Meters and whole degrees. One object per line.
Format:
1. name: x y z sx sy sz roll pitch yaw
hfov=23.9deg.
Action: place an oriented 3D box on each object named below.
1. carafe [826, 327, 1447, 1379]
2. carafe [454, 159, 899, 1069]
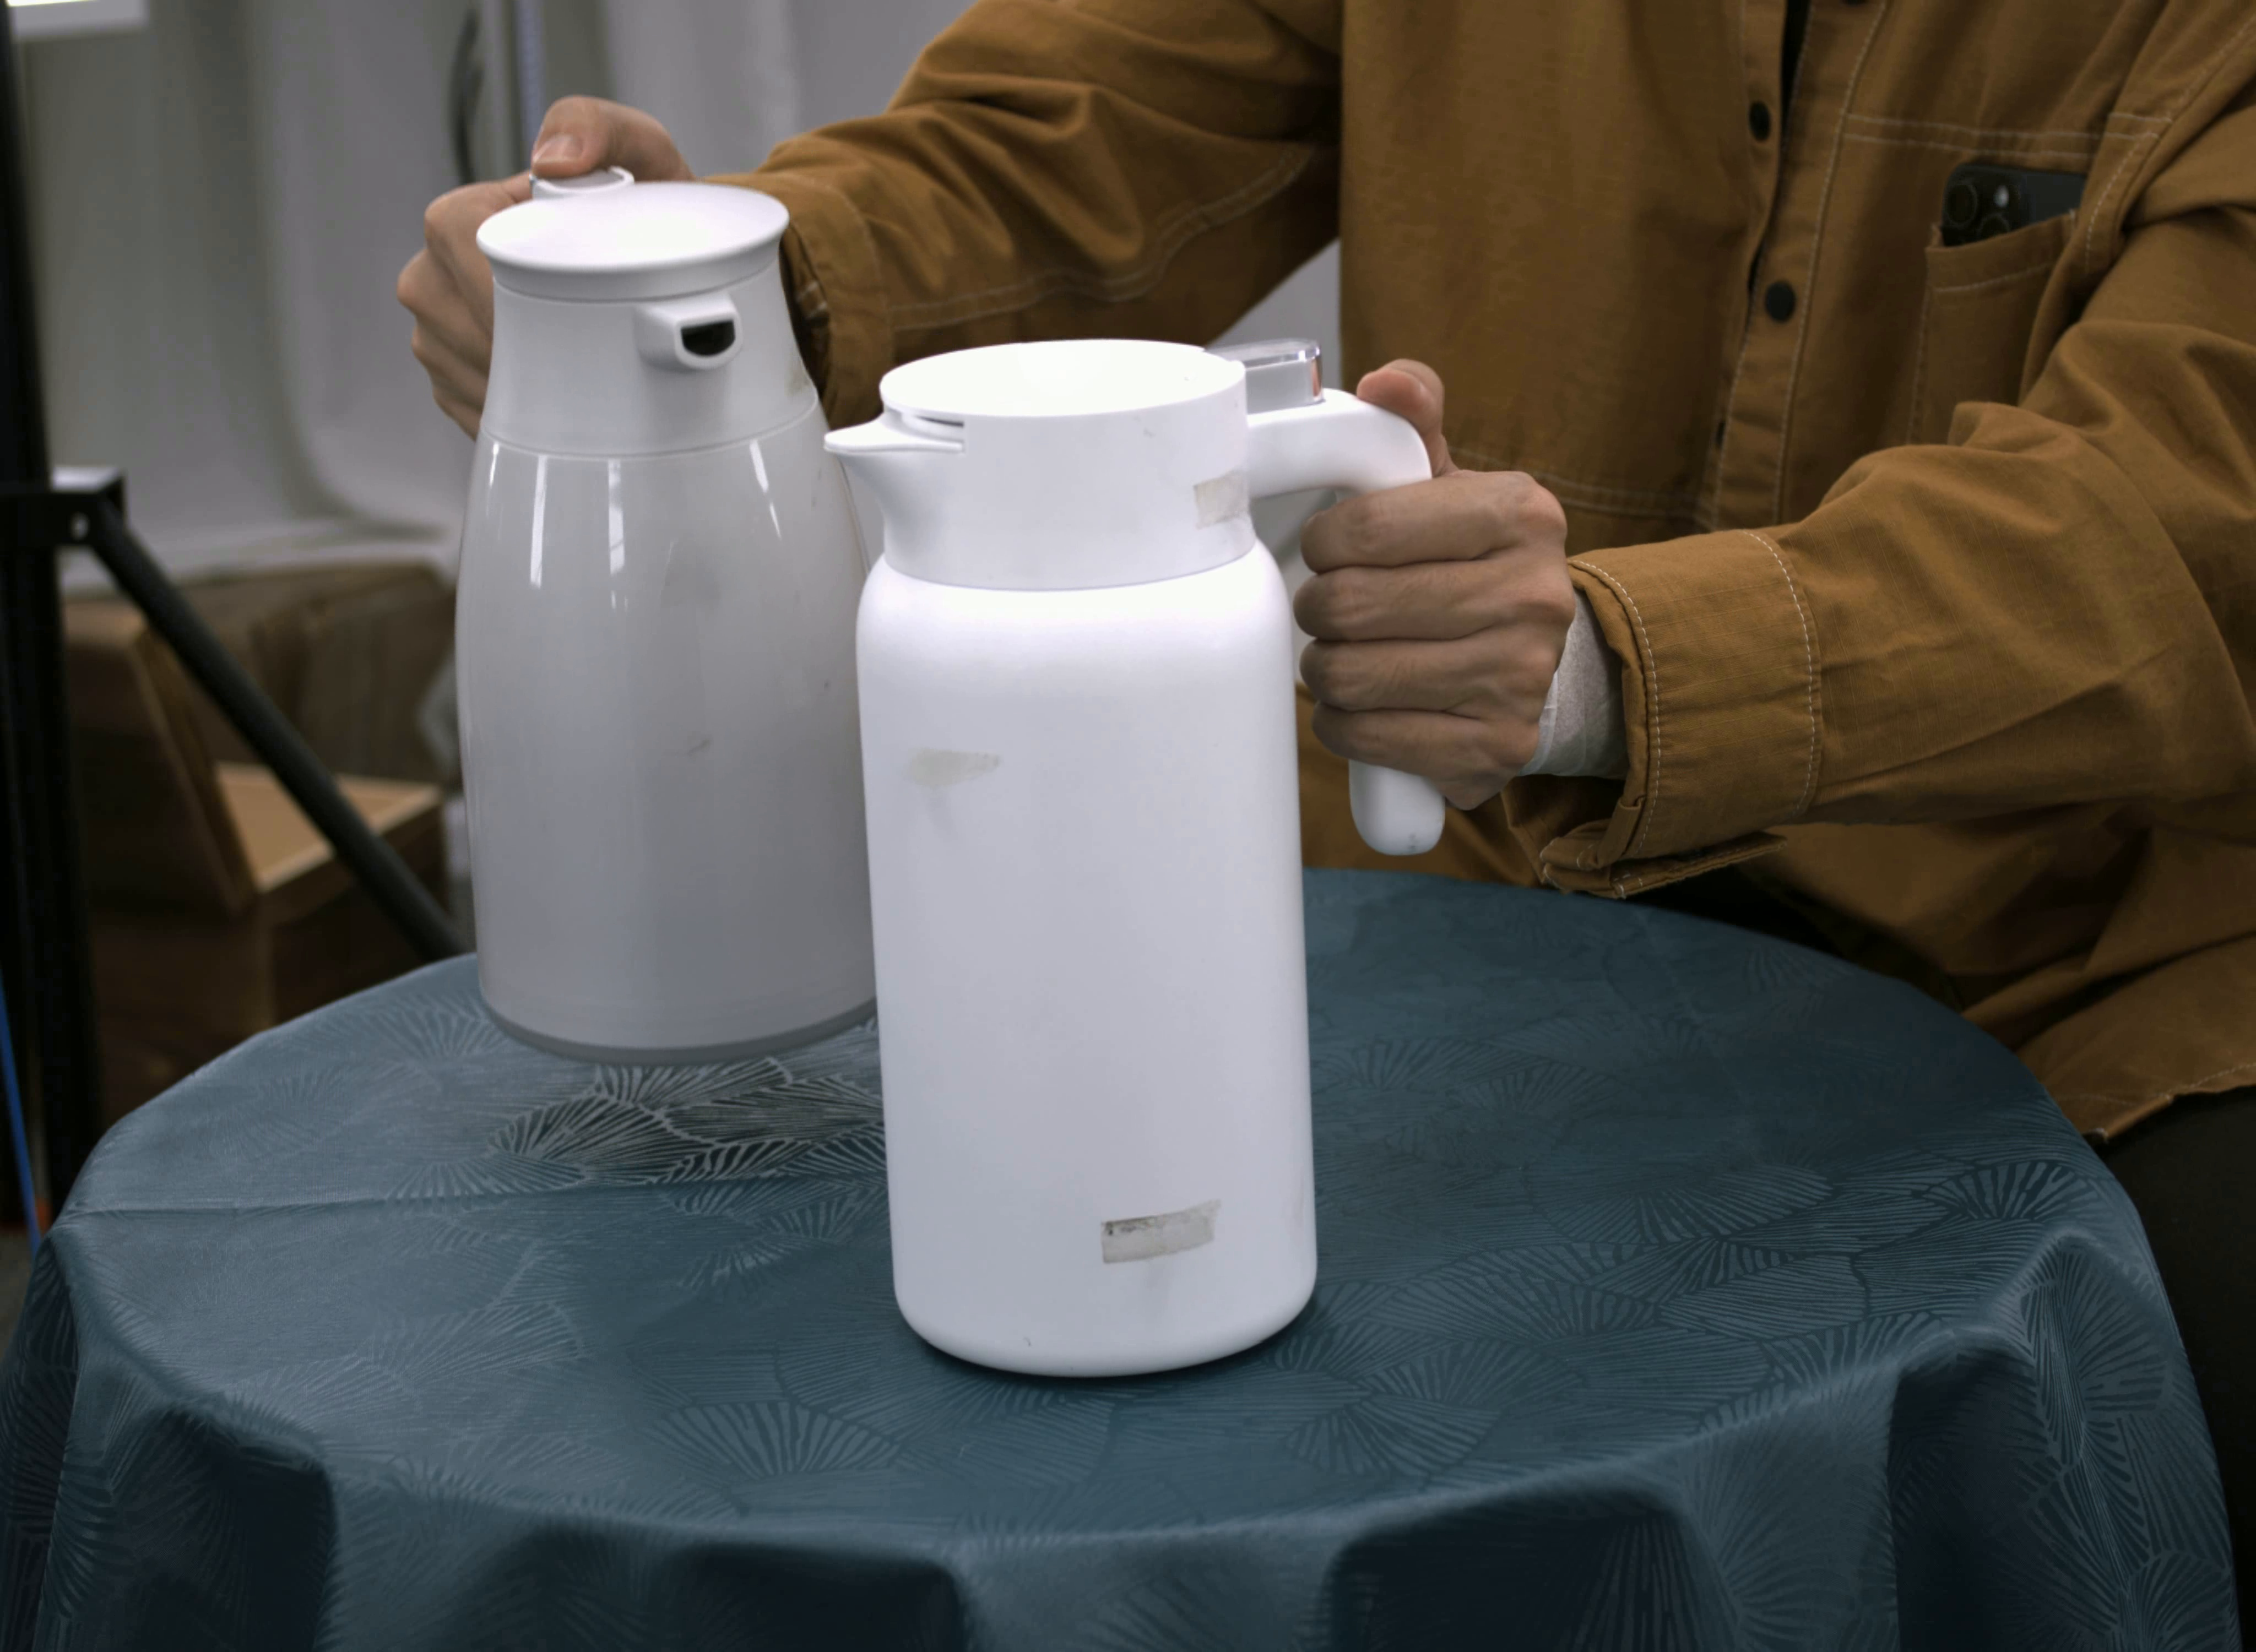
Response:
1. carafe: 0.004 0.003 1.434 0.169 0.269 0.126 -9 14 -23
2. carafe: -0.147 -0.072 1.608 0.130 0.248 0.171 -10 20 -21
